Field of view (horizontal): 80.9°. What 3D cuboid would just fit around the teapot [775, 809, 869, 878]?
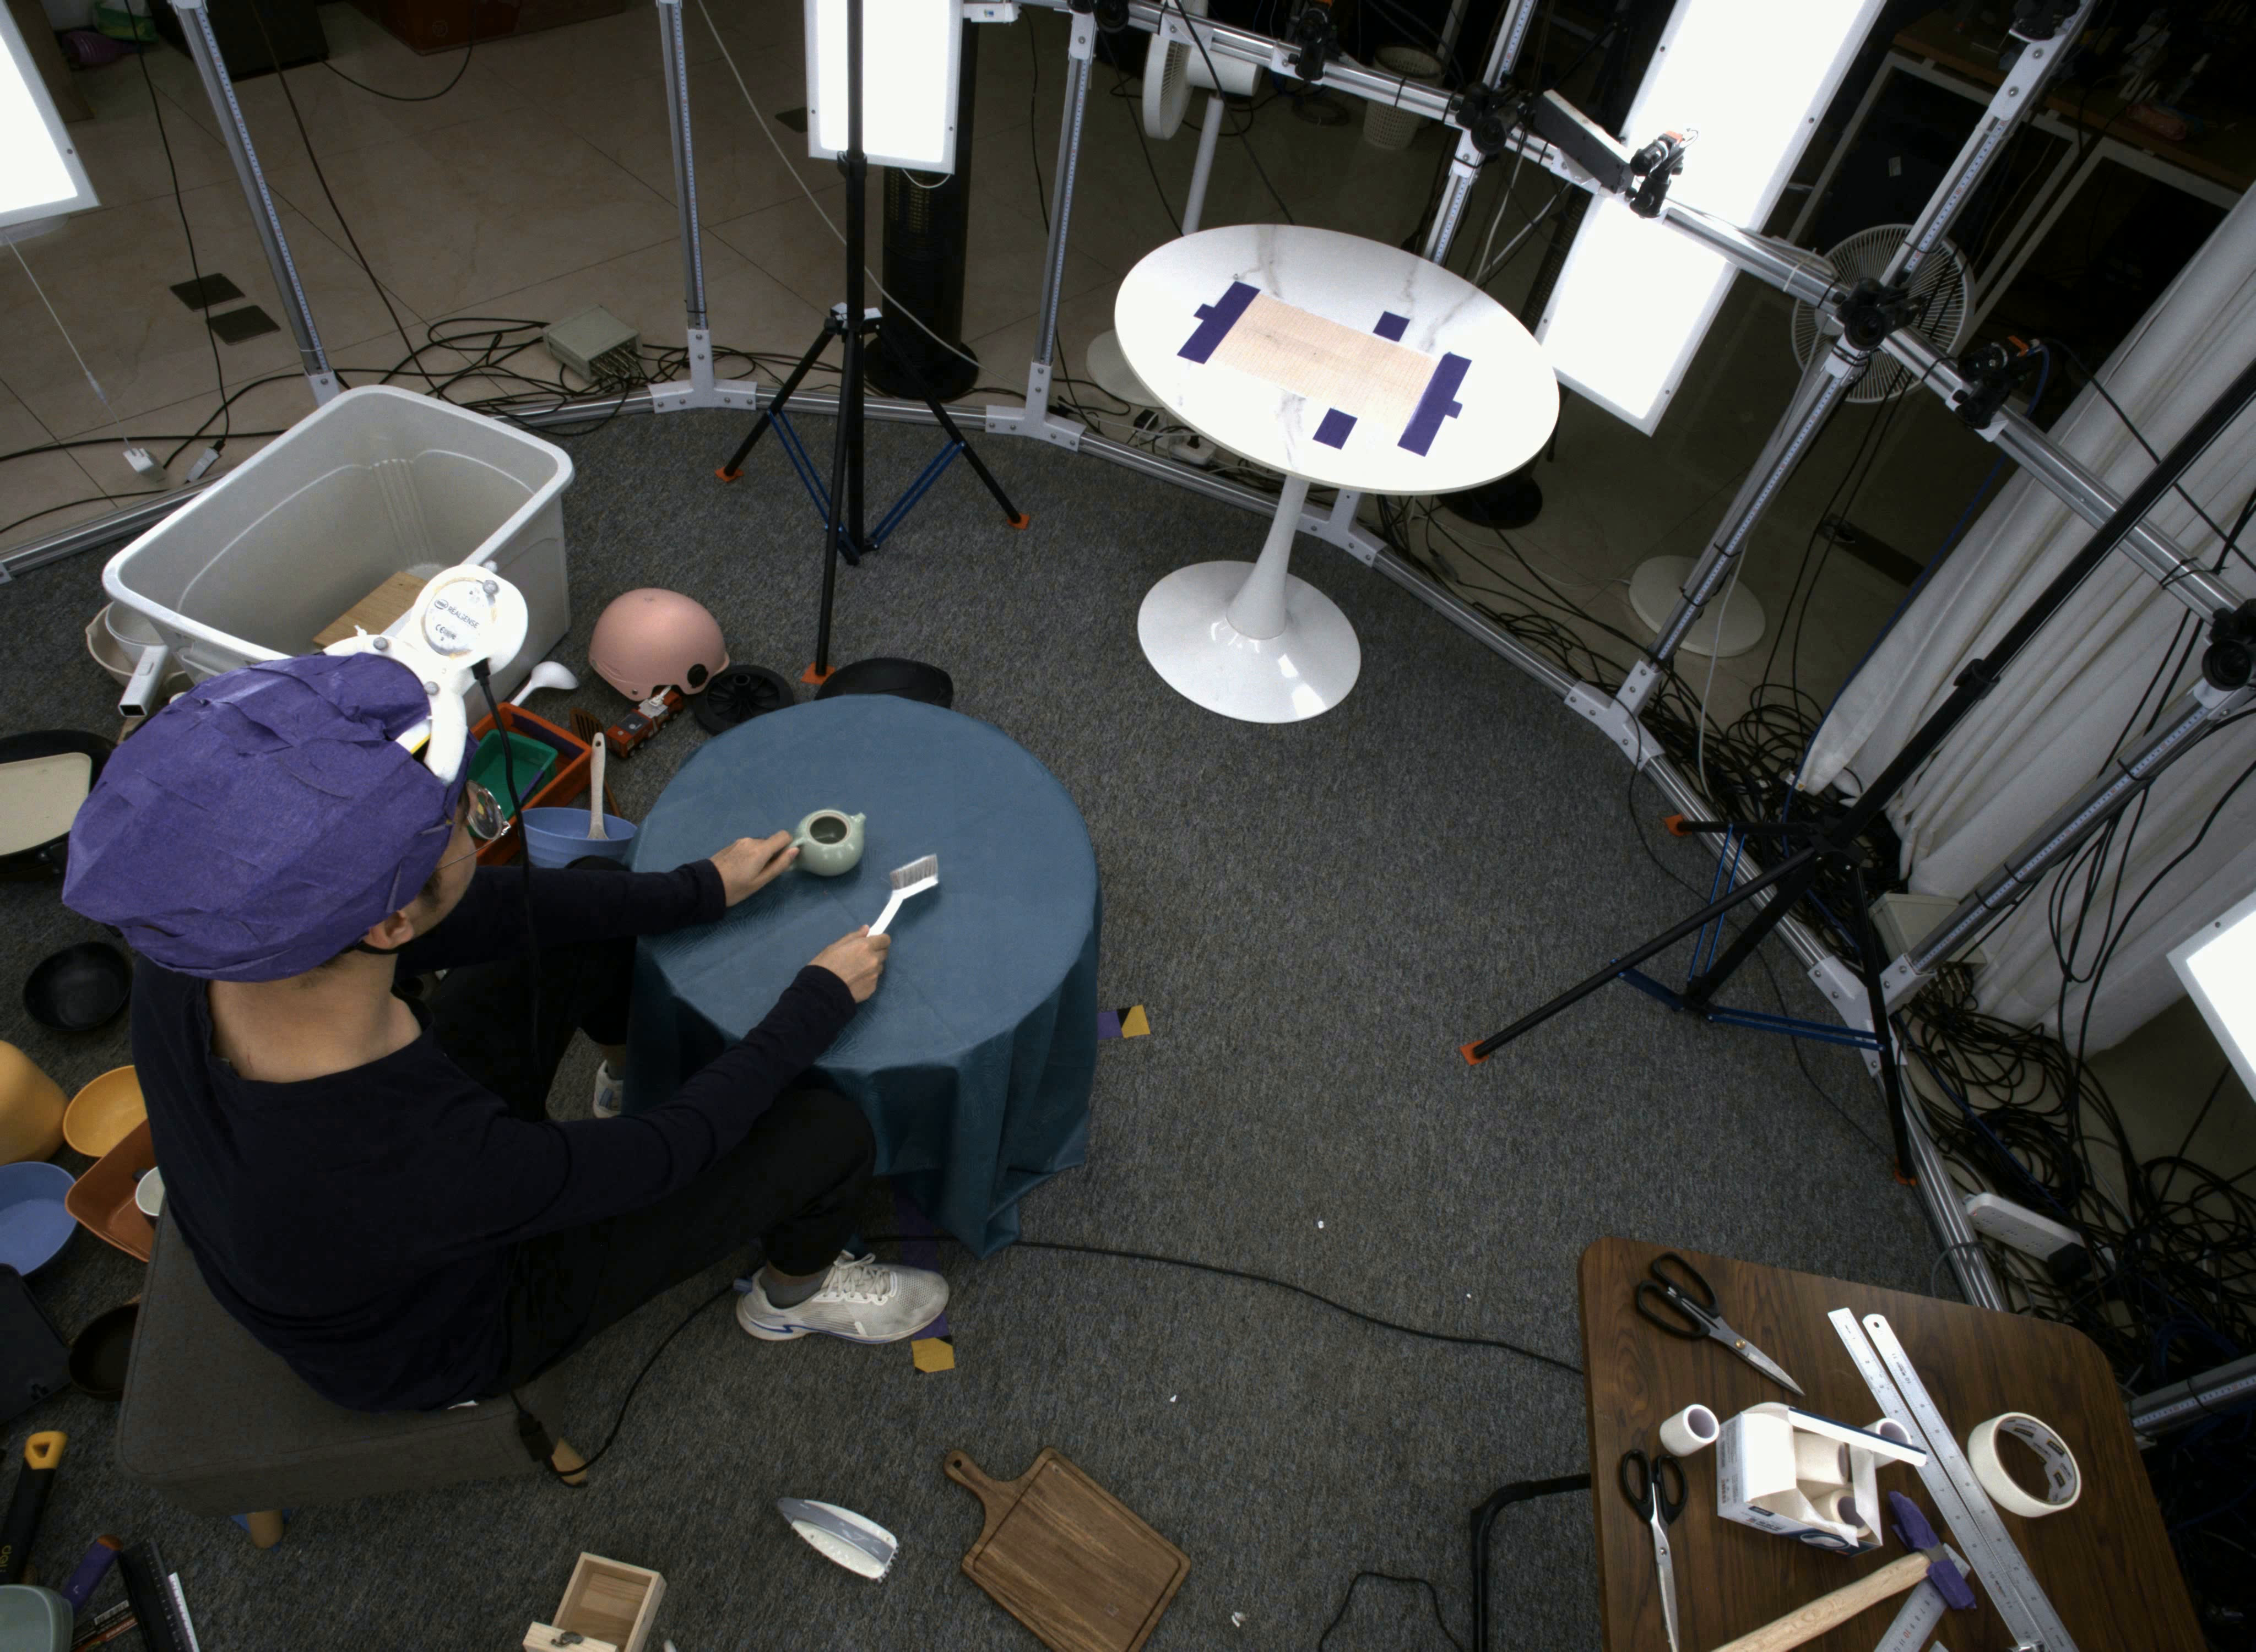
[{"bbox_3d":[-0.395,0.025,1.674,0.129,0.062,0.089,-20,63,-30],"label":"teapot"}]

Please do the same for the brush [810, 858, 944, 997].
[{"bbox_3d":[-0.318,0.117,1.624,0.033,0.052,0.243,4,38,42],"label":"brush"}]
